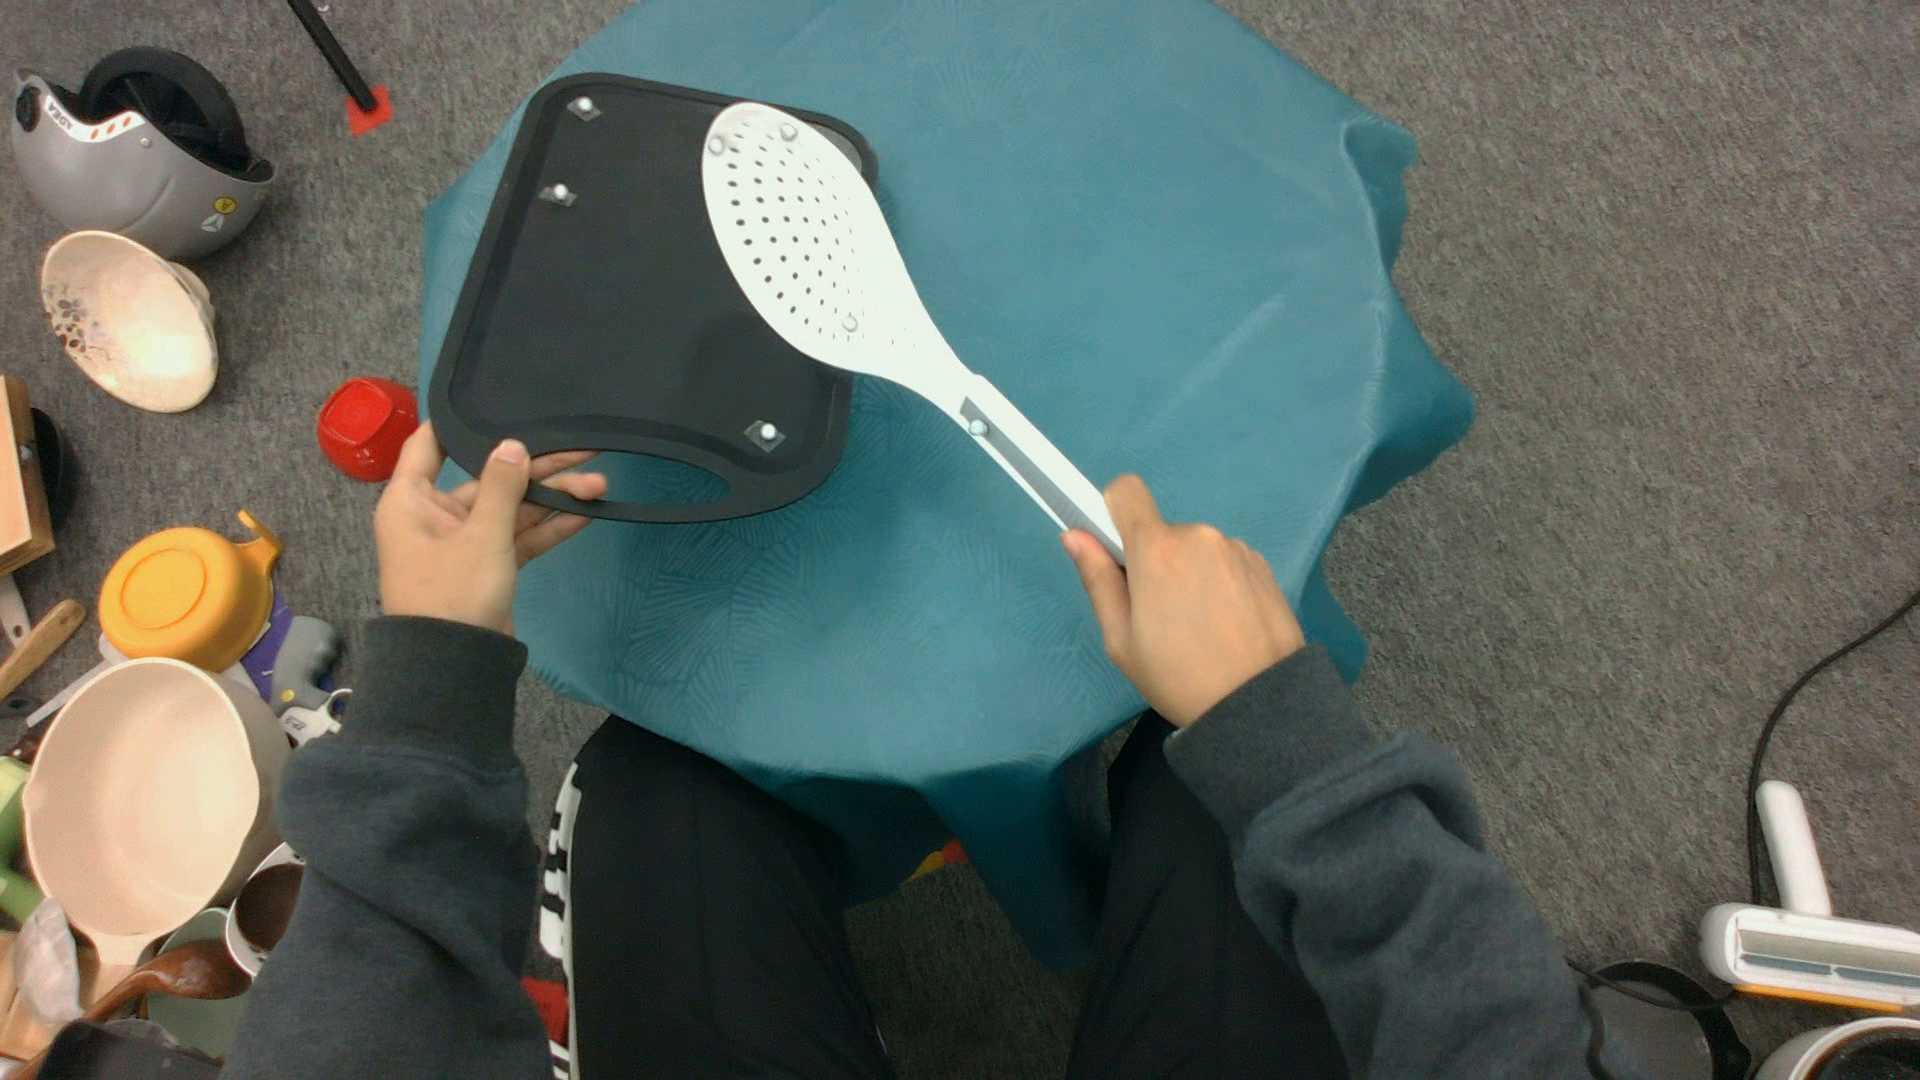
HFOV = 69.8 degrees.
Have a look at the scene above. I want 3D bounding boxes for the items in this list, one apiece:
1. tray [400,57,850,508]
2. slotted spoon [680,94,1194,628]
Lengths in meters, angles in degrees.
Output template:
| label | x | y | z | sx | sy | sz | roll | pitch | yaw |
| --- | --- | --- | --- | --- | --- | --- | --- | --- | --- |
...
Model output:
| label | x | y | z | sx | sy | sz | roll | pitch | yaw |
| --- | --- | --- | --- | --- | --- | --- | --- | --- | --- |
| tray | -0.173 | -0.153 | 0.758 | 0.211 | 0.010 | 0.327 | 8 | 55 | -9 |
| slotted spoon | -0.017 | -0.087 | 0.675 | 0.046 | 0.135 | 0.350 | -32 | 73 | -30 |
